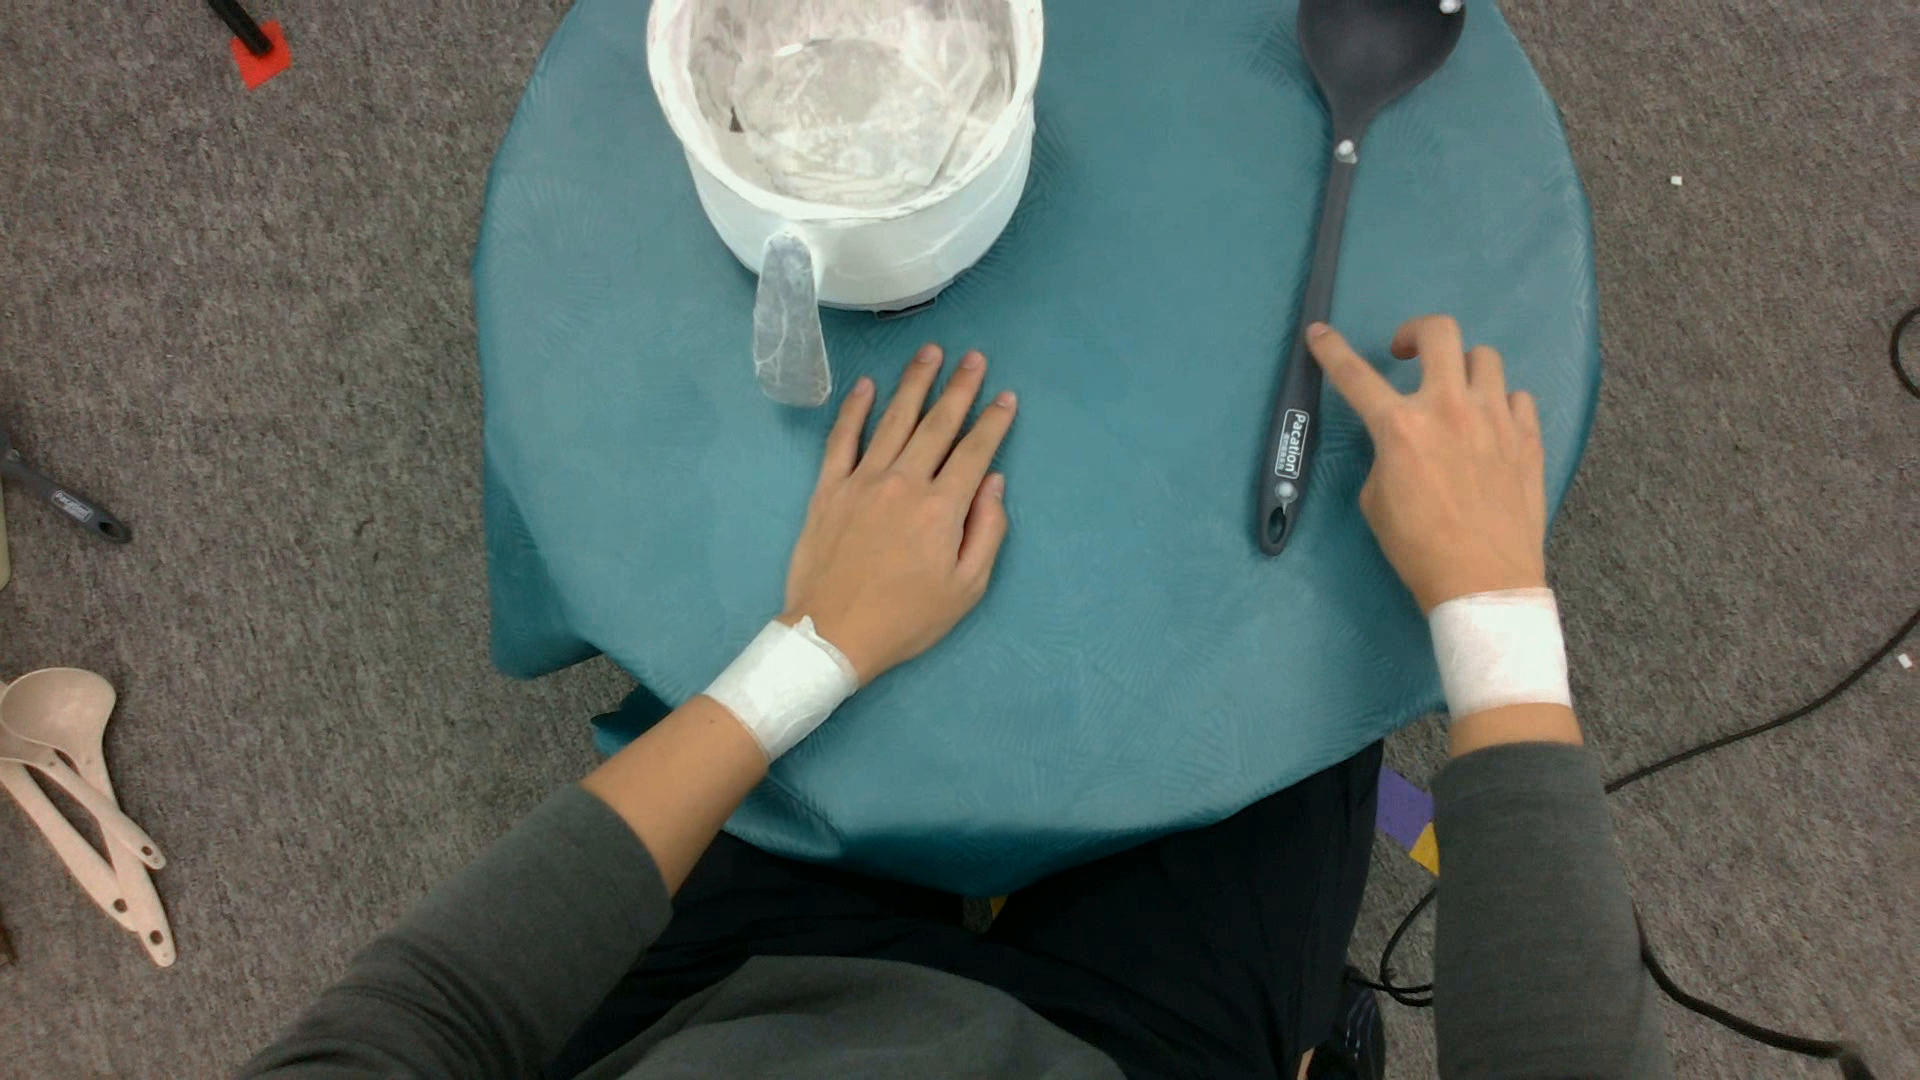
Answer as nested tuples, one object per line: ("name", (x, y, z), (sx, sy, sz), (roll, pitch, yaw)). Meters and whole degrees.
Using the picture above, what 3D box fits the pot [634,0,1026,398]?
("pot", (-0.065, -0.191, 0.677), (0.179, 0.136, 0.234), (12, 79, 2))

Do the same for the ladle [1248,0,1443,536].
("ladle", (0.186, -0.157, 0.713), (0.086, 0.064, 0.314), (11, 79, 6))
